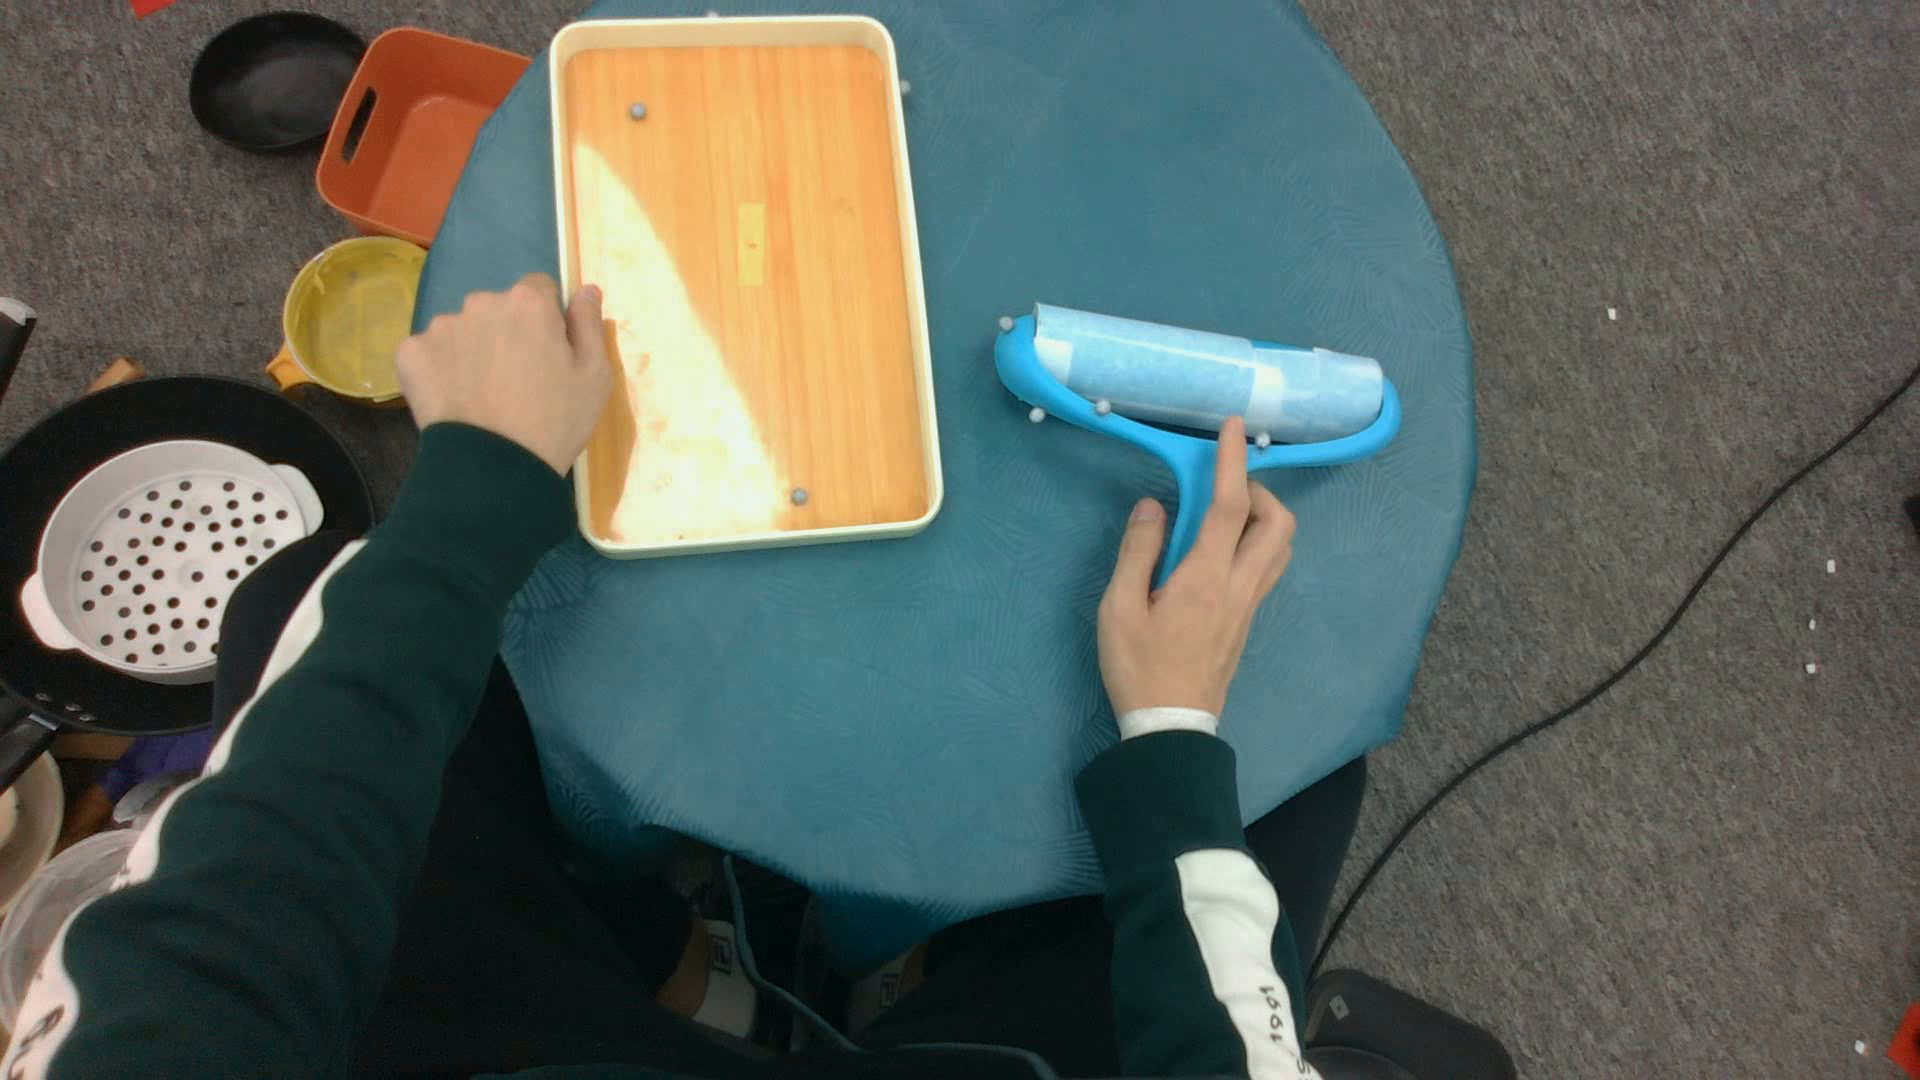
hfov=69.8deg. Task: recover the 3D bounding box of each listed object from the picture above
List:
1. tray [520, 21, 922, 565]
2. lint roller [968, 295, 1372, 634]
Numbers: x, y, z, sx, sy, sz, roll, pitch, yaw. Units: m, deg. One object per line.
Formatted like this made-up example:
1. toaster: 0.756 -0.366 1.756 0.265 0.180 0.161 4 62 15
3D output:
1. tray: -0.133 -0.142 0.755 0.192 0.027 0.301 -6 78 -9
2. lint roller: 0.117 -0.042 0.753 0.229 0.068 0.180 3 75 -9
